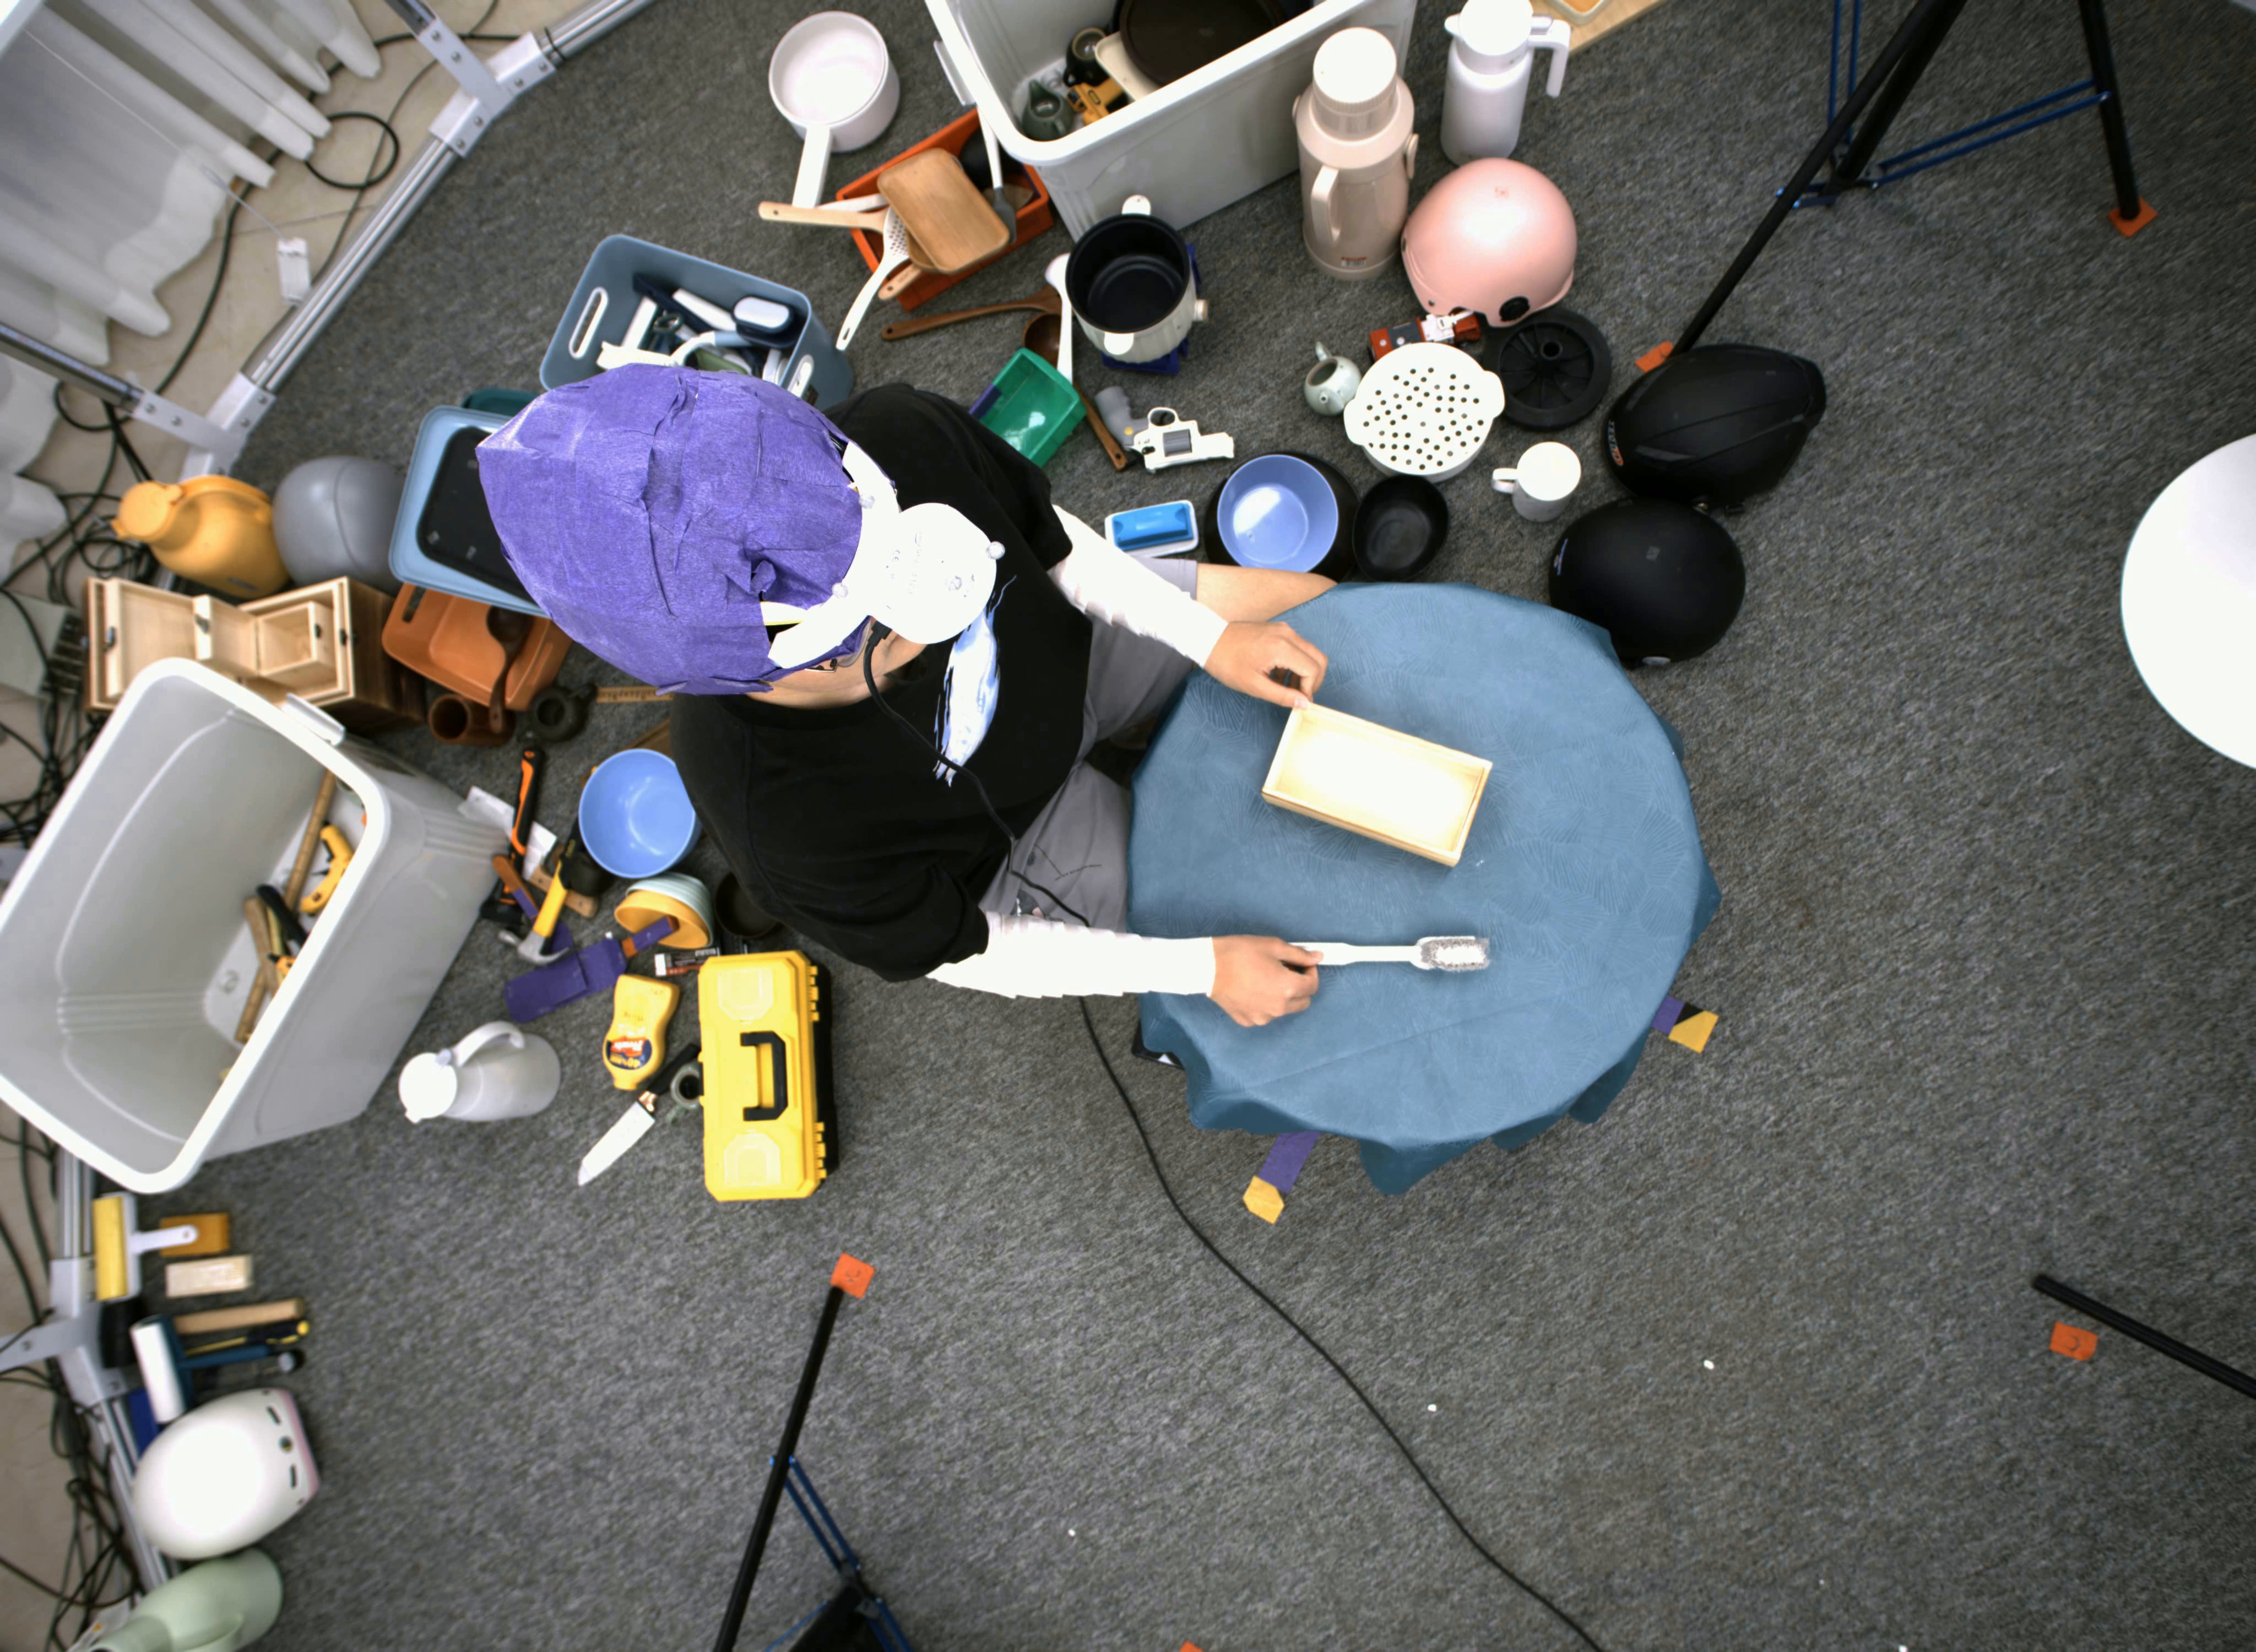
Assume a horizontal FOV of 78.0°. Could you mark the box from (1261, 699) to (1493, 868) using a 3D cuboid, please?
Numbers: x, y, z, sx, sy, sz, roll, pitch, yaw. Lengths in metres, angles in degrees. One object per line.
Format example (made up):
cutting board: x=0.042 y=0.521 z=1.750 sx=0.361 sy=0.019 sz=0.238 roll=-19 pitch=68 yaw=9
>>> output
box: x=0.258 y=-0.045 z=1.427 sx=0.211 sy=0.080 sz=0.107 roll=19 pitch=90 yaw=12

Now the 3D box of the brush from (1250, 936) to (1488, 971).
brush: x=0.248 y=0.129 z=1.429 sx=0.244 sy=0.050 sz=0.034 roll=0 pitch=88 yaw=7
